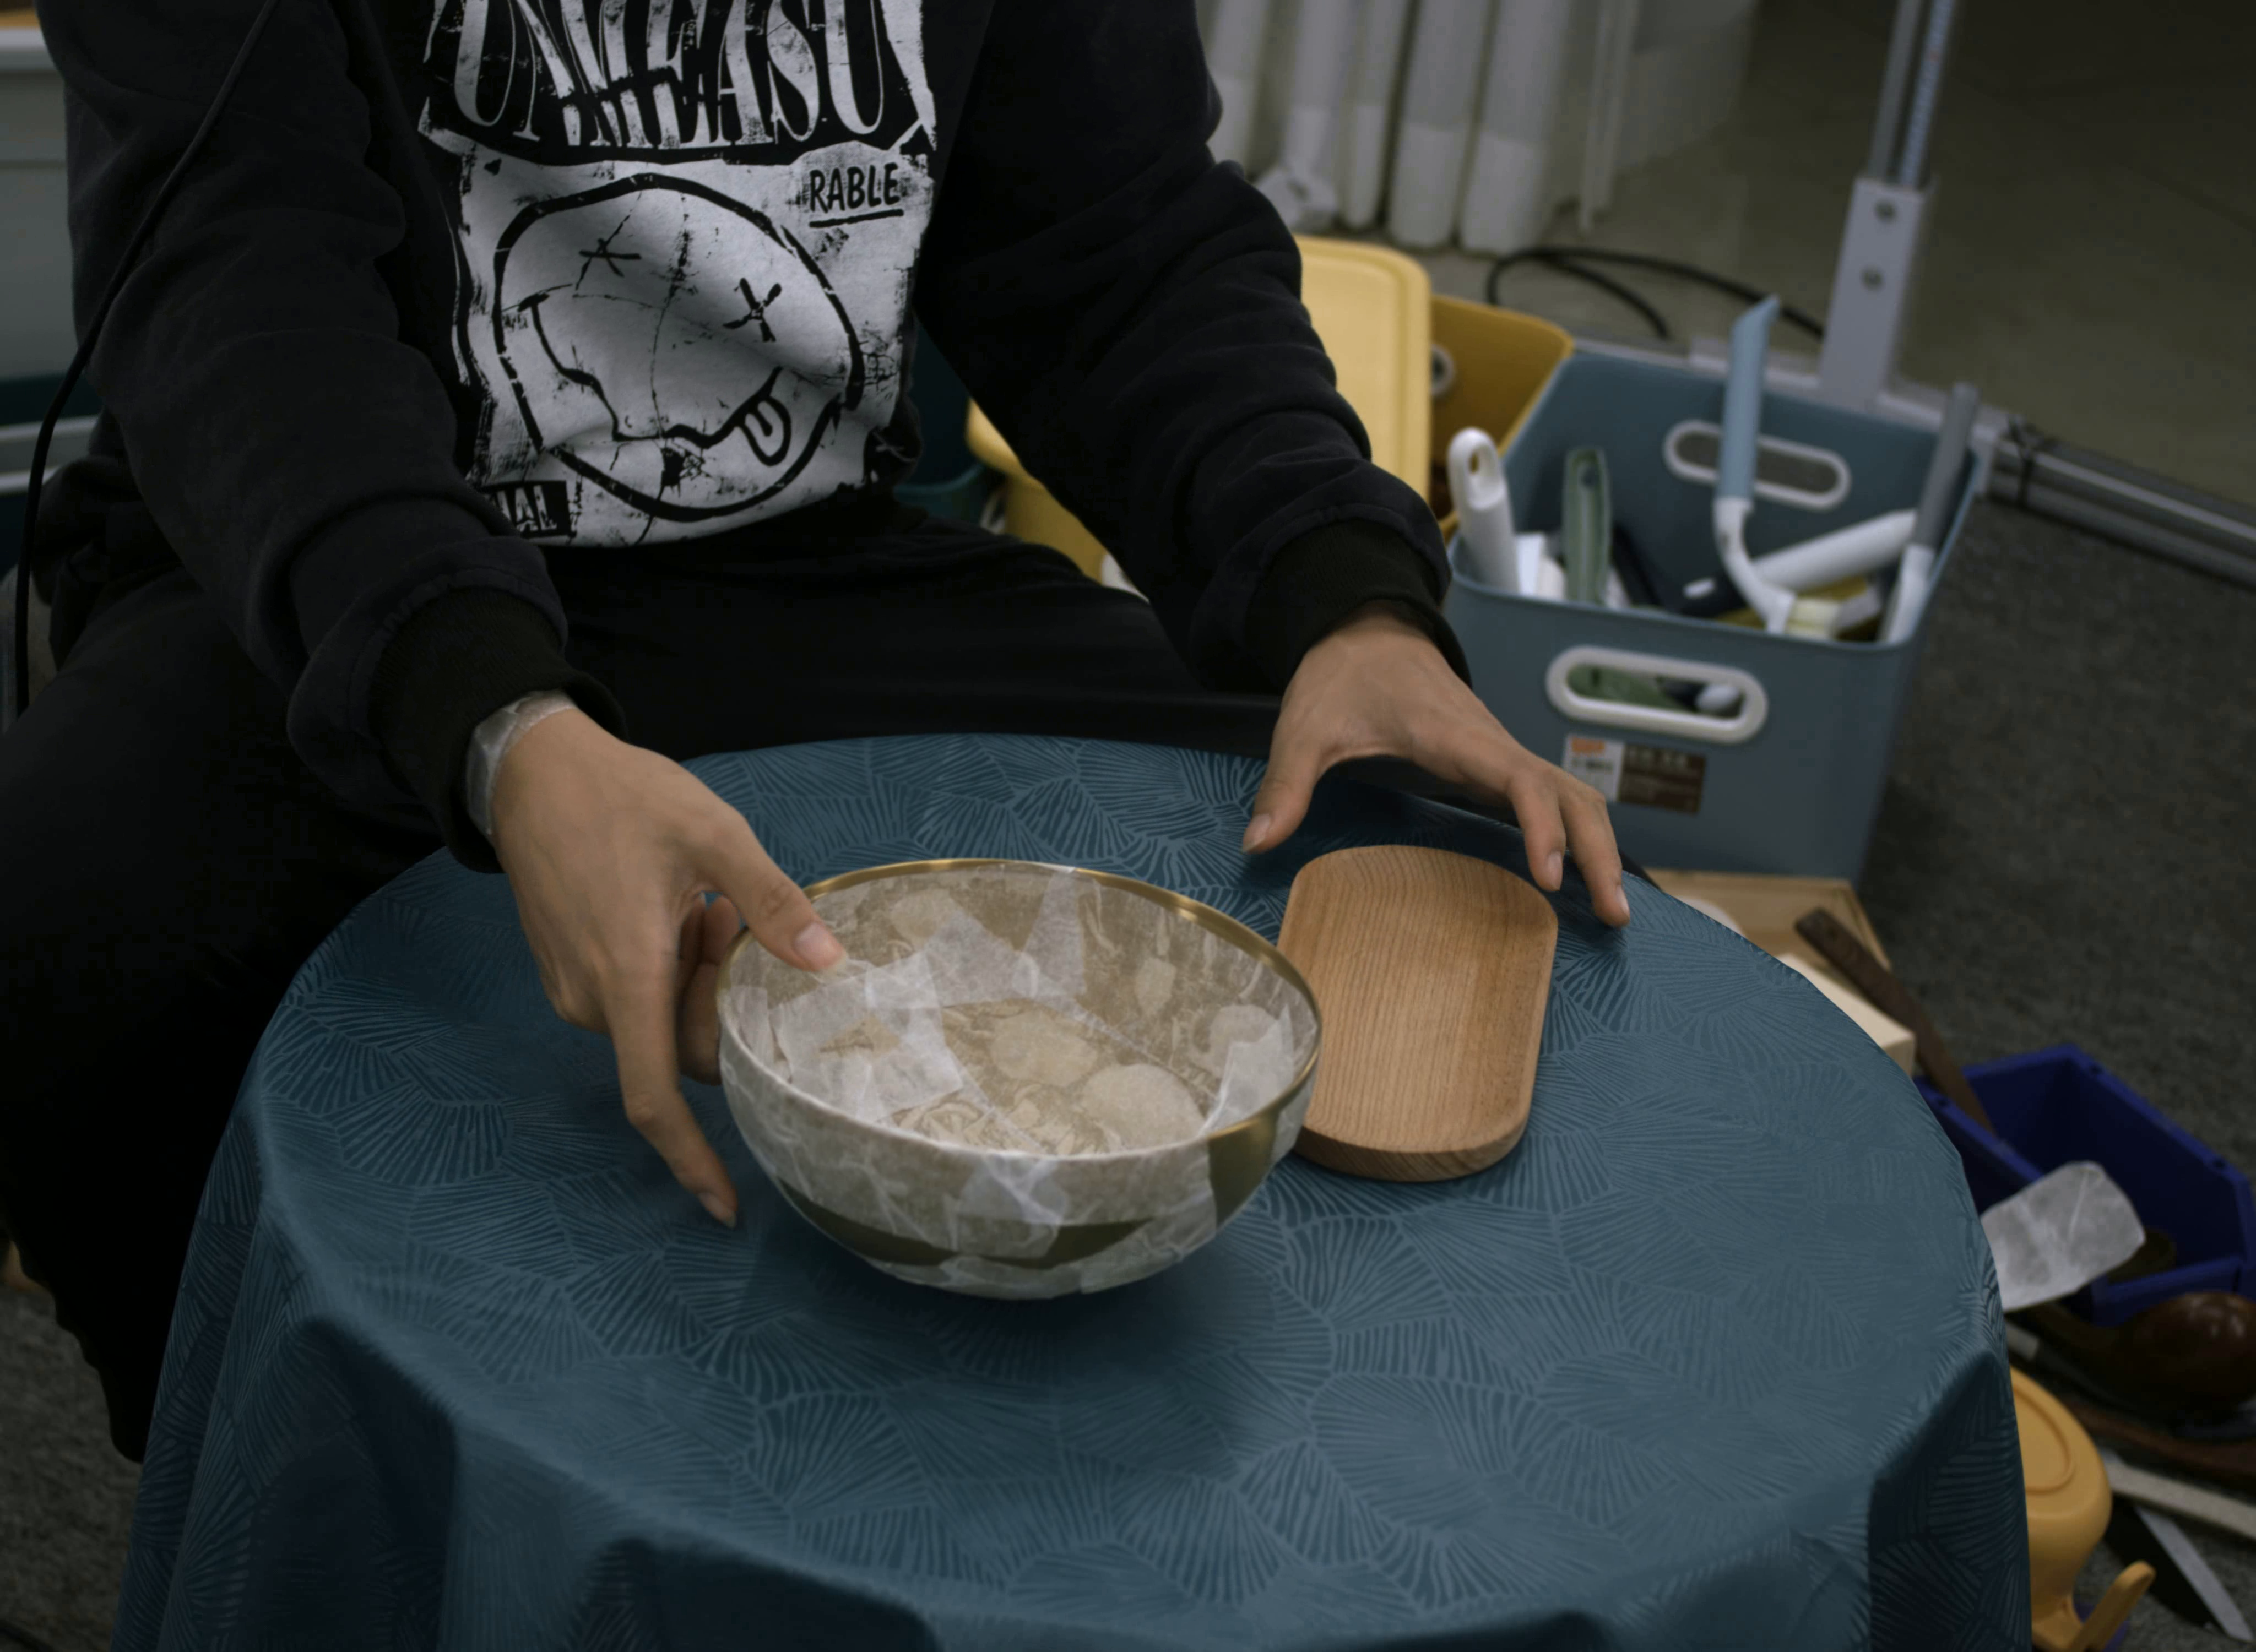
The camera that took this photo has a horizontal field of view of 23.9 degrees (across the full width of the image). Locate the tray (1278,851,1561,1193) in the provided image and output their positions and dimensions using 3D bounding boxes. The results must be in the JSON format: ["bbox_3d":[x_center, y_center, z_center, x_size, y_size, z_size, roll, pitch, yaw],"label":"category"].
[{"bbox_3d":[0.102,0.068,1.916,0.101,0.020,0.232,6,29,5],"label":"tray"}]

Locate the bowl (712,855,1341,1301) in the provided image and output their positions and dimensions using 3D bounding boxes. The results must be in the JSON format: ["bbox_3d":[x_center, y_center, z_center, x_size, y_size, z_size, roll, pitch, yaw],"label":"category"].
[{"bbox_3d":[-0.036,0.094,1.748,0.214,0.094,0.216,4,26,-2],"label":"bowl"}]
